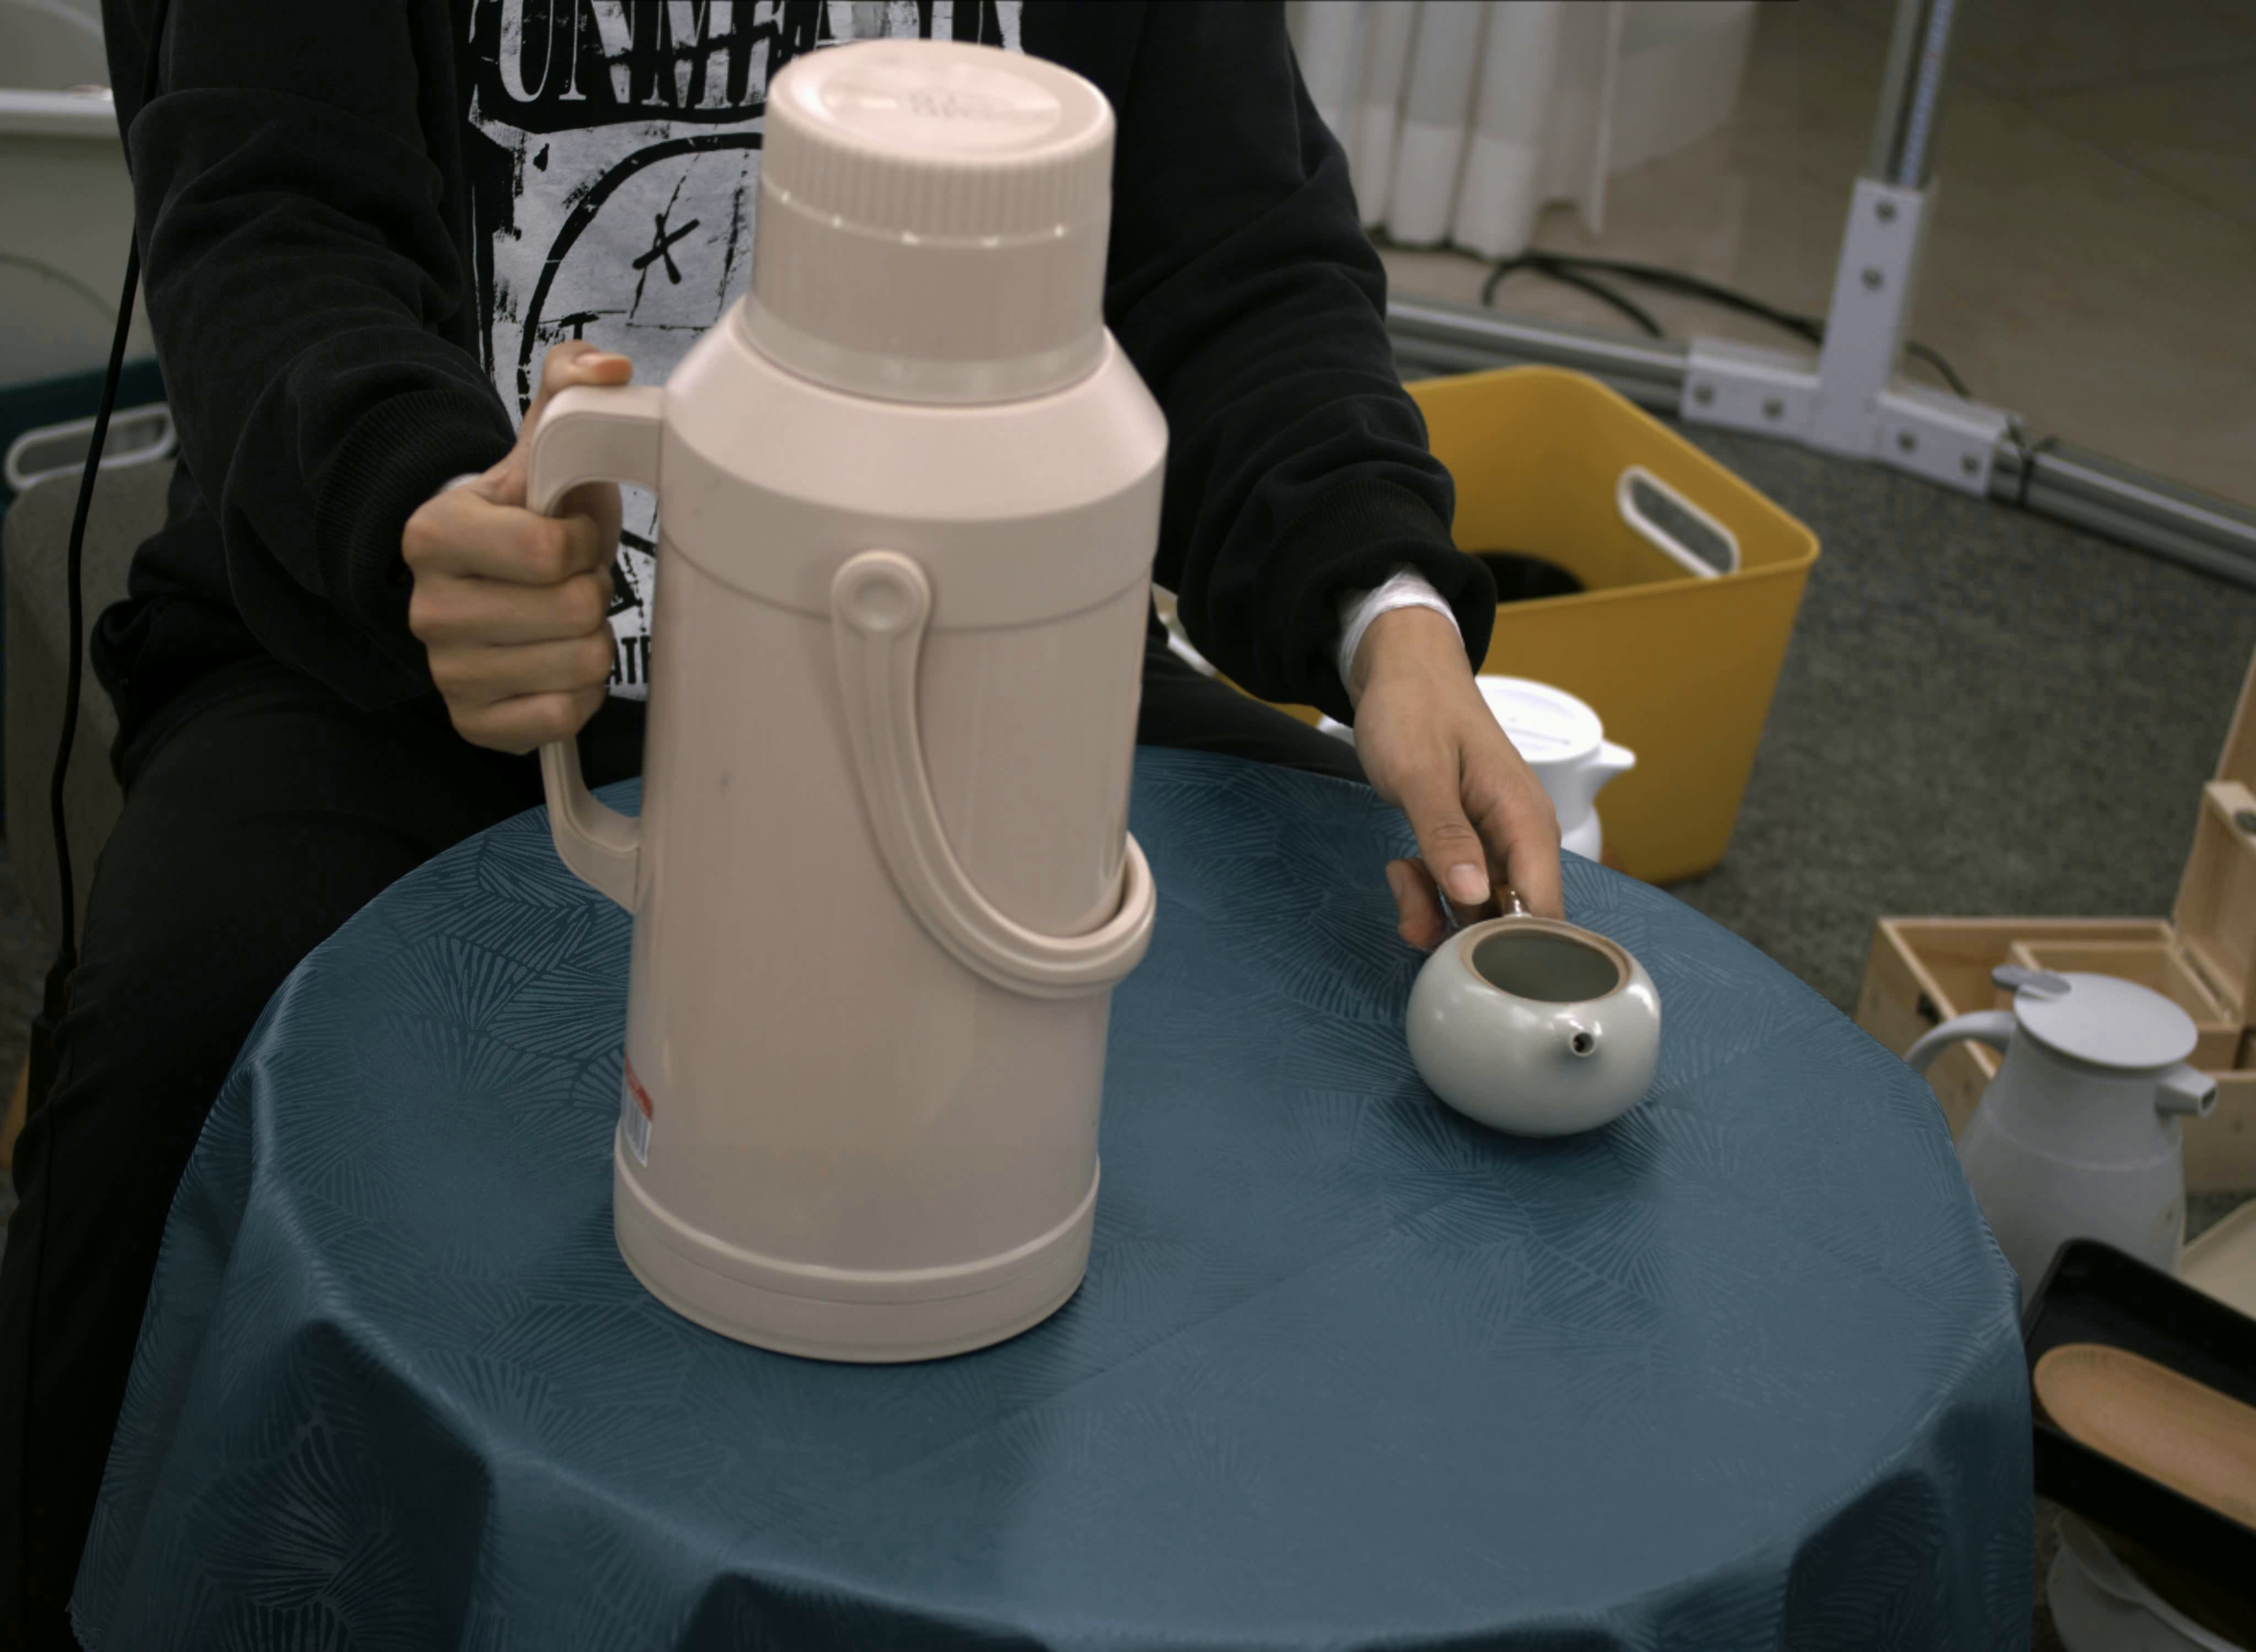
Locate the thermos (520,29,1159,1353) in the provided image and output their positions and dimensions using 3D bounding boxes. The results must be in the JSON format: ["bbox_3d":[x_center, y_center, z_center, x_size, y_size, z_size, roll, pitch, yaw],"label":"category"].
[{"bbox_3d":[-0.090,-0.044,1.675,0.206,0.405,0.176,6,28,1],"label":"thermos"}]

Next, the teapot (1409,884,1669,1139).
[{"bbox_3d":[0.143,0.067,1.883,0.091,0.059,0.129,-4,29,-12],"label":"teapot"}]
